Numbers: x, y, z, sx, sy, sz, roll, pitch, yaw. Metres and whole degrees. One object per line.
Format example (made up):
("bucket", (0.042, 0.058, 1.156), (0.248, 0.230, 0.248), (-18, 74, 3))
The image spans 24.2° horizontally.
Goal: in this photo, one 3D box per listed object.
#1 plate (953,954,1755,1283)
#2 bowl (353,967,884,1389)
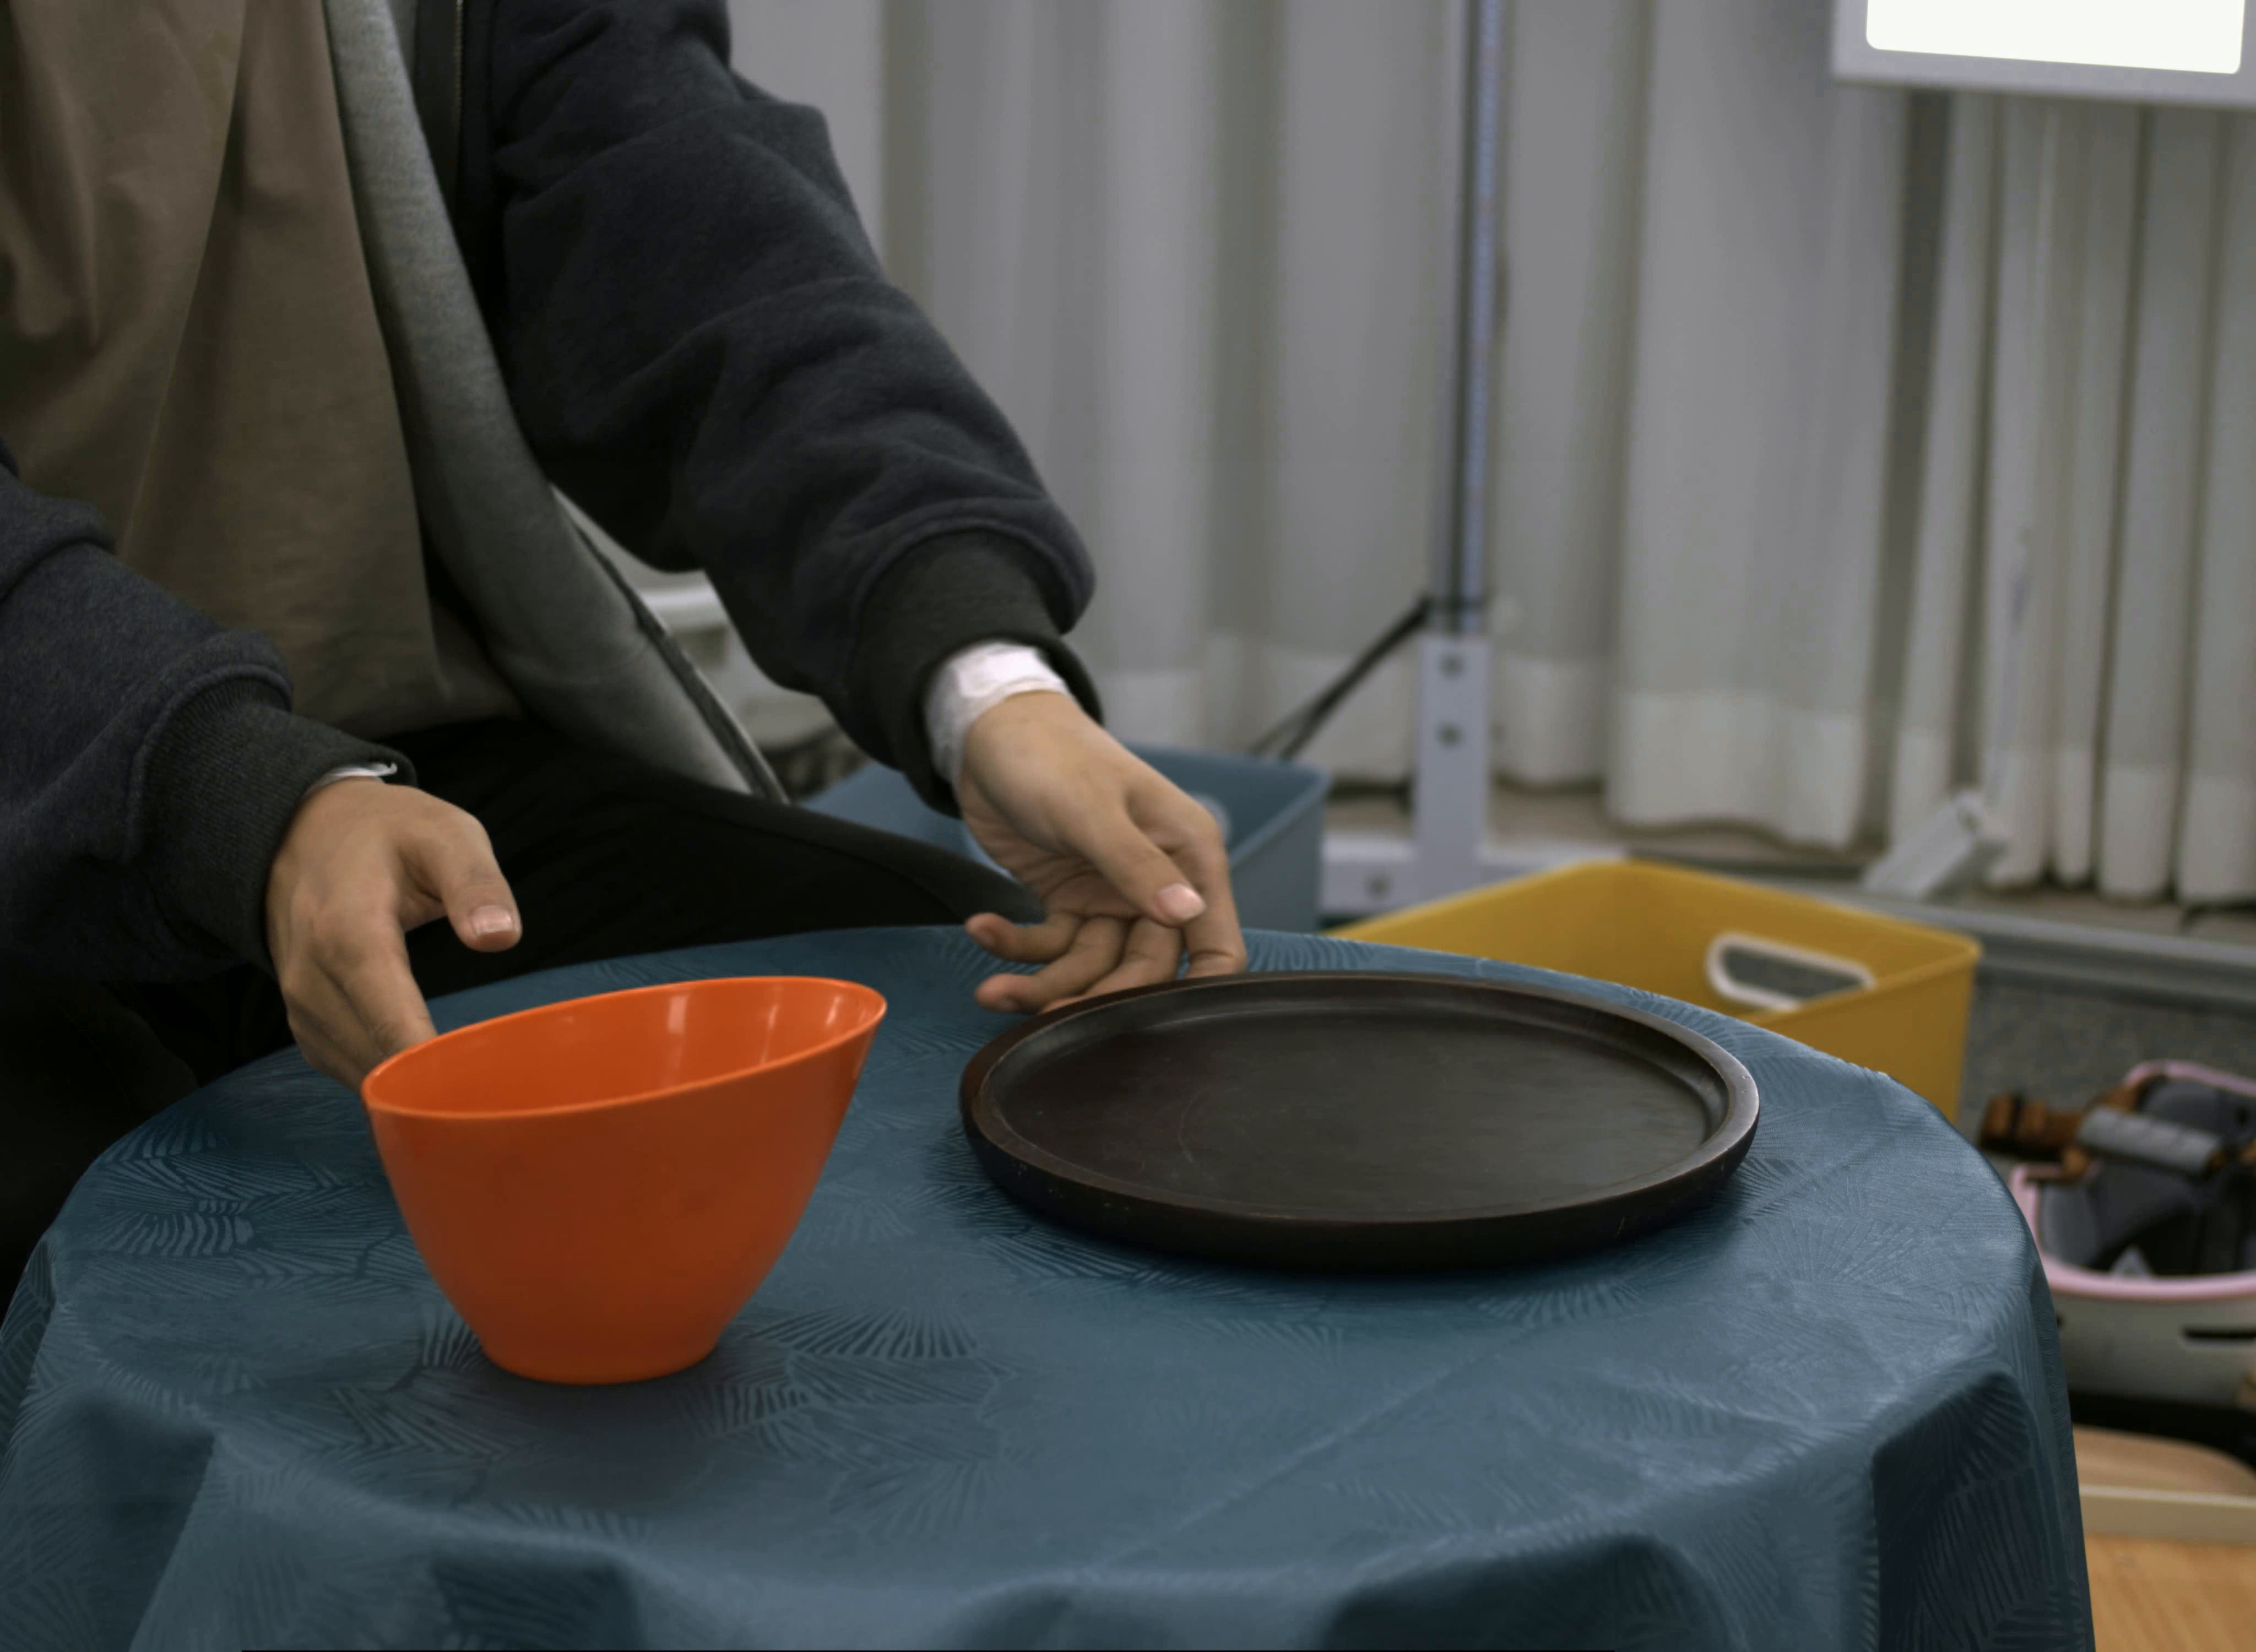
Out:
("plate", (0.071, 0.091, 1.657), (0.254, 0.029, 0.253), (0, 17, 1))
("bowl", (-0.141, 0.099, 1.473), (0.147, 0.105, 0.147), (0, 18, 1))
